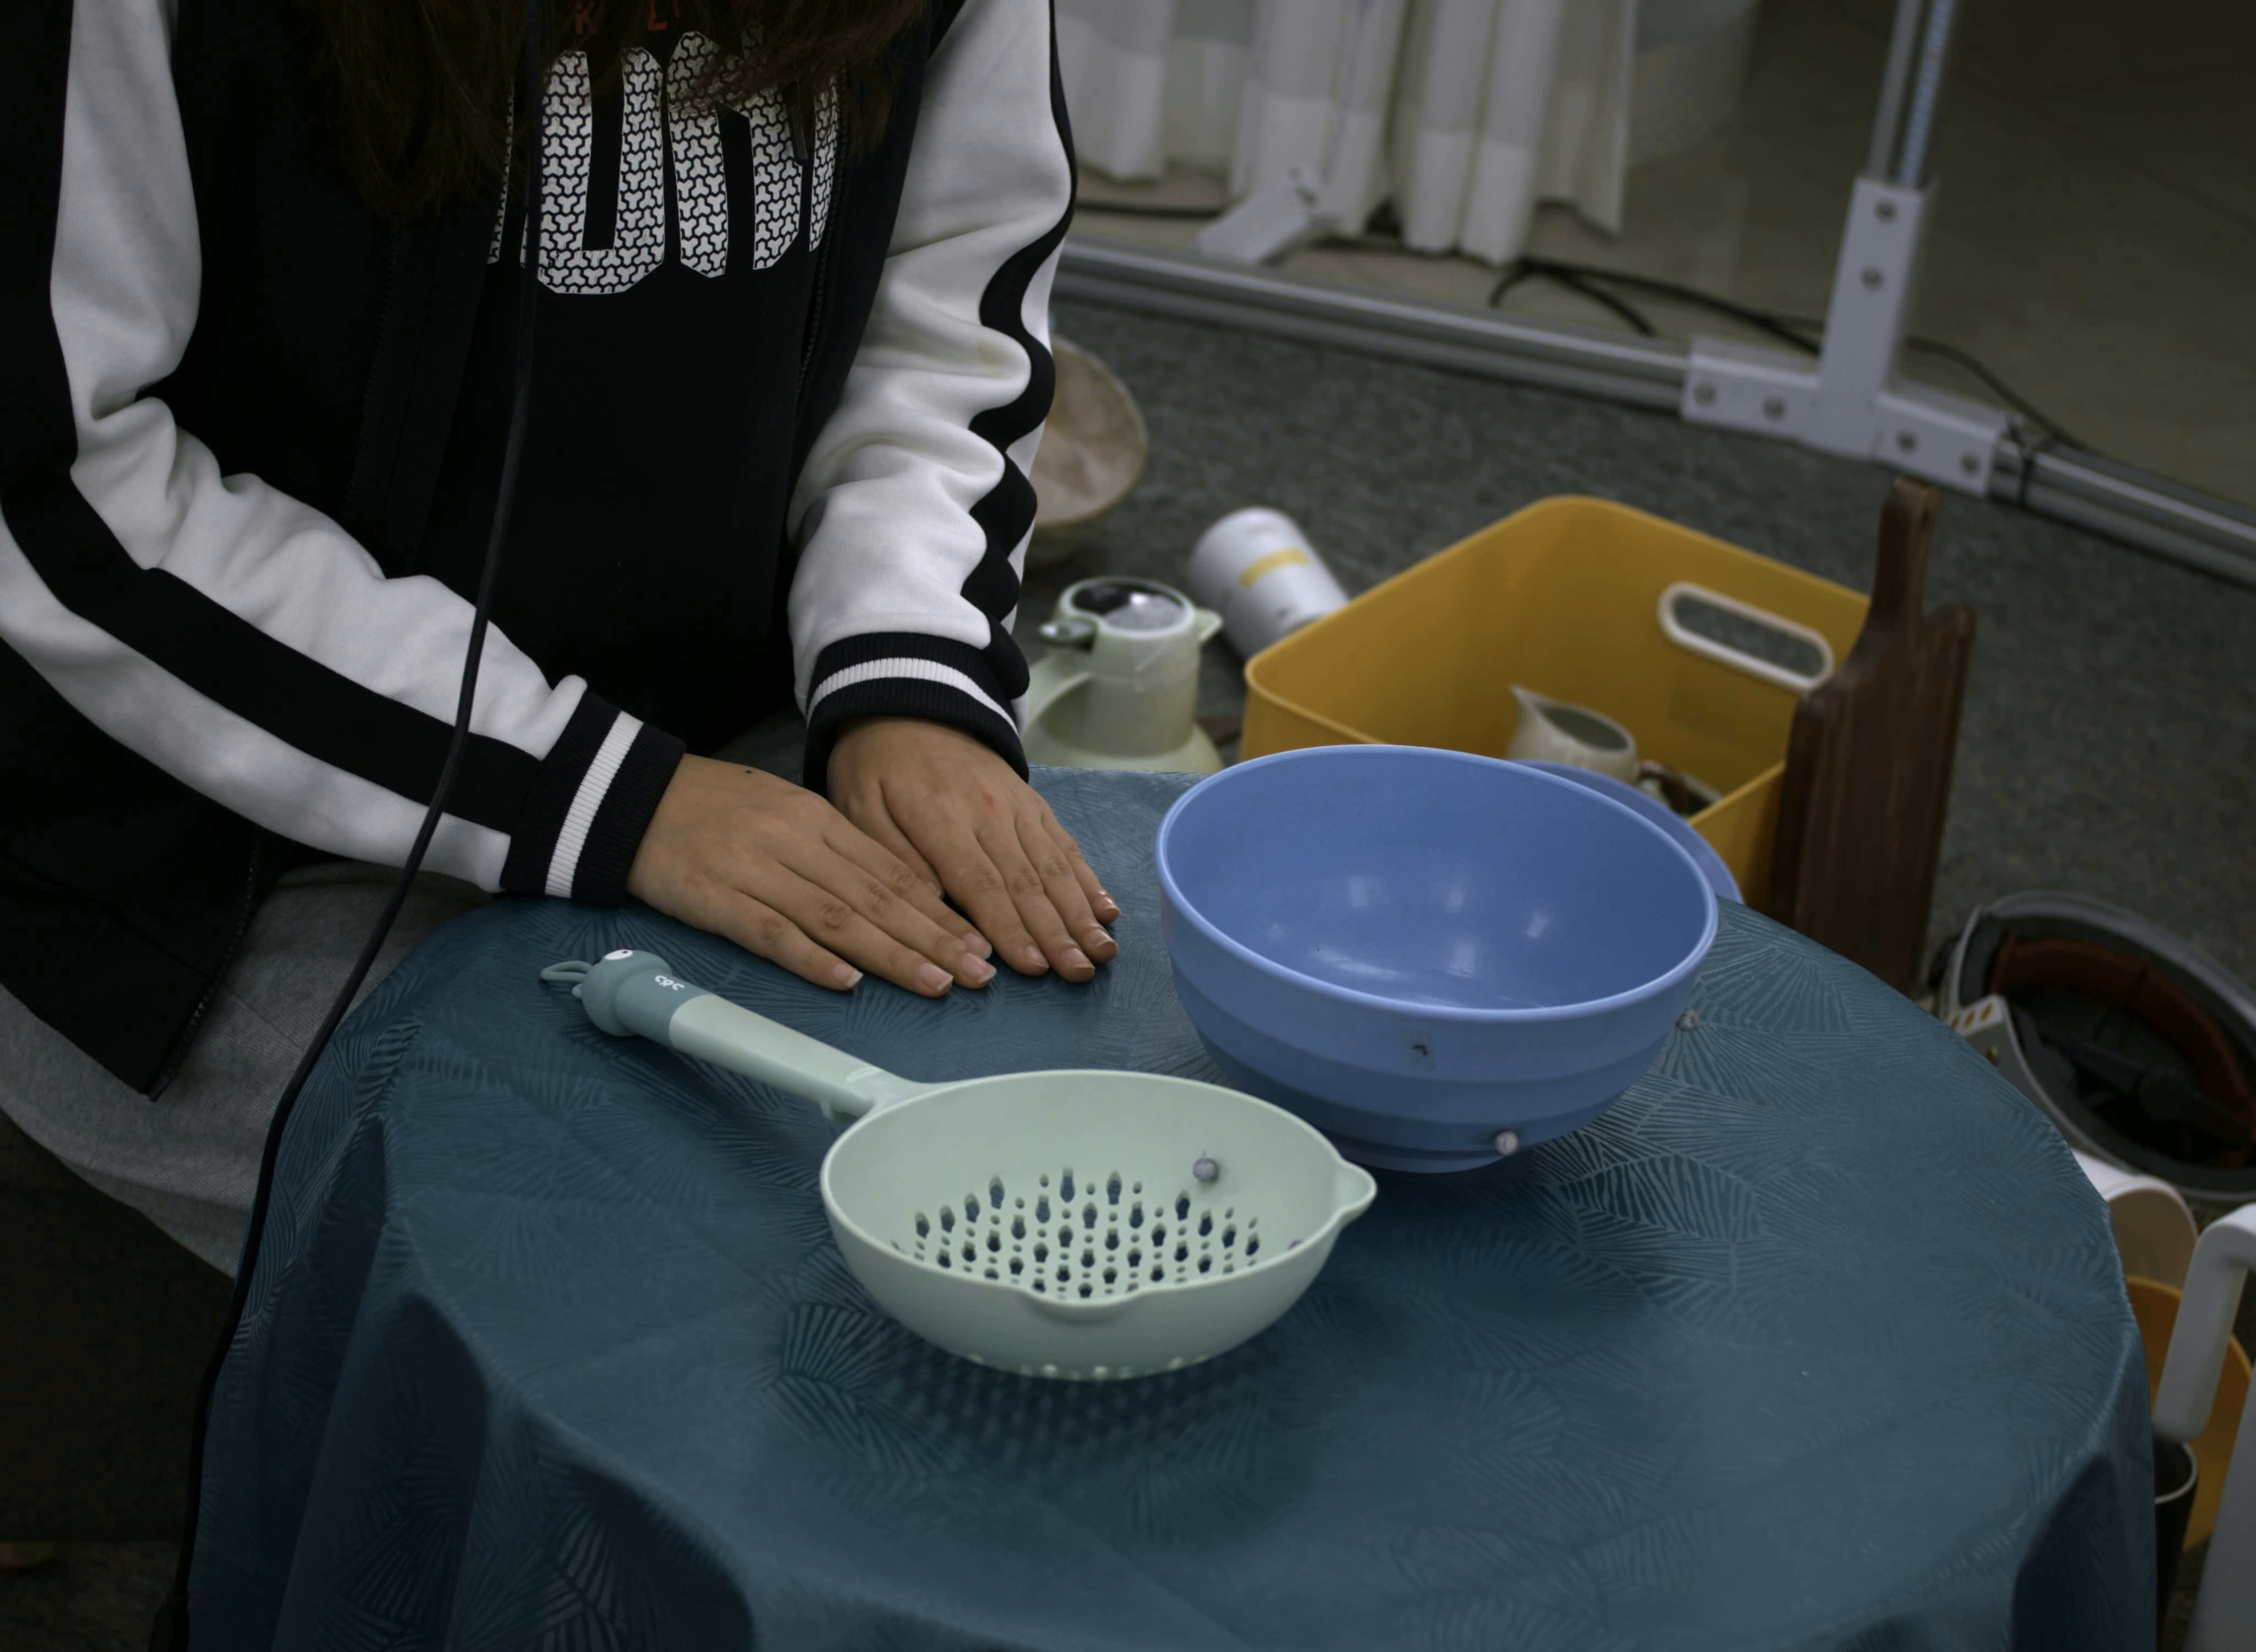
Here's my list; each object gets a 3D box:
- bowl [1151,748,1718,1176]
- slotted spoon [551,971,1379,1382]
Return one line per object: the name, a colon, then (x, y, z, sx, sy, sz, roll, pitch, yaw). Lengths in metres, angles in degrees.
bowl: (0.101, 0.058, 1.850, 0.196, 0.095, 0.197, 4, 27, -3)
slotted spoon: (-0.080, 0.100, 1.768, 0.168, 0.075, 0.362, -16, 33, -40)
